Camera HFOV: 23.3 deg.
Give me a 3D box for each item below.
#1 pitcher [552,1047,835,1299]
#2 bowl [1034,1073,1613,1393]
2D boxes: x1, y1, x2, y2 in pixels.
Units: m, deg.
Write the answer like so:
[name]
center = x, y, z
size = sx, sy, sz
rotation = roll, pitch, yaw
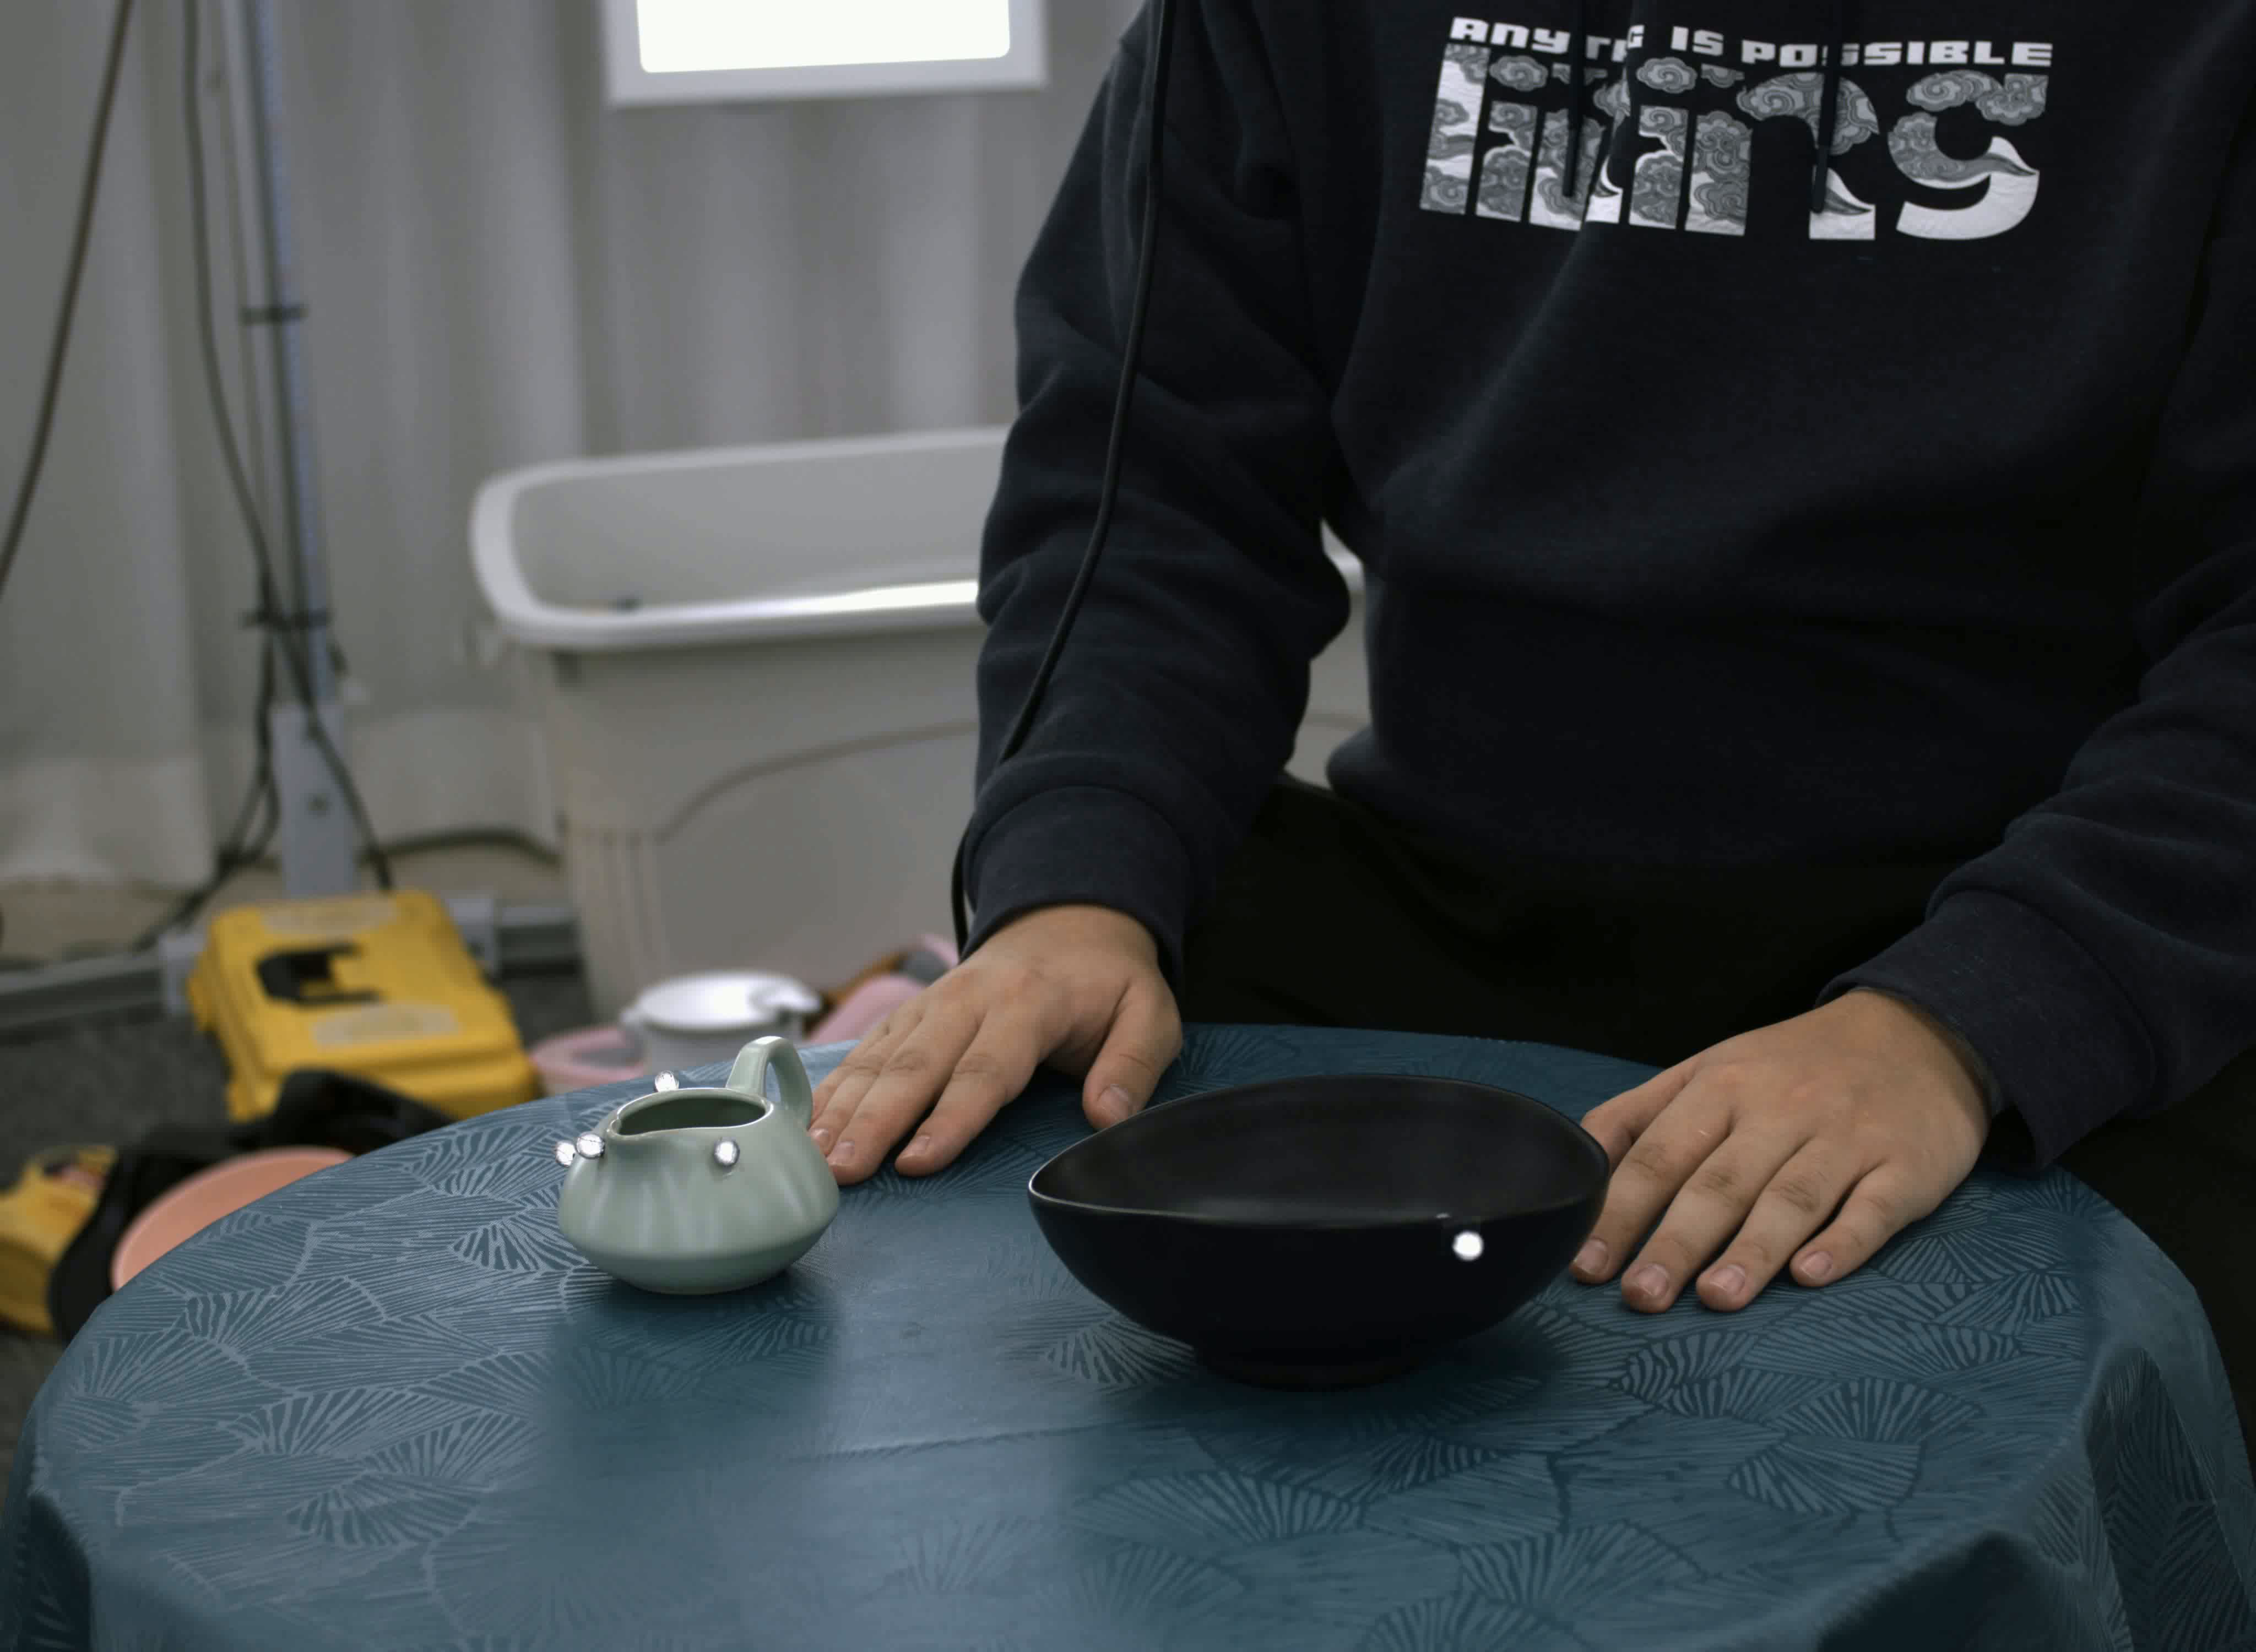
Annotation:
[pitcher]
center = -0.127, 0.106, 1.666
size = 0.086, 0.060, 0.108
rotation = 5, 14, 23
[bowl]
center = 0.055, 0.121, 1.562
size = 0.170, 0.066, 0.138
rotation = 1, 14, 17
